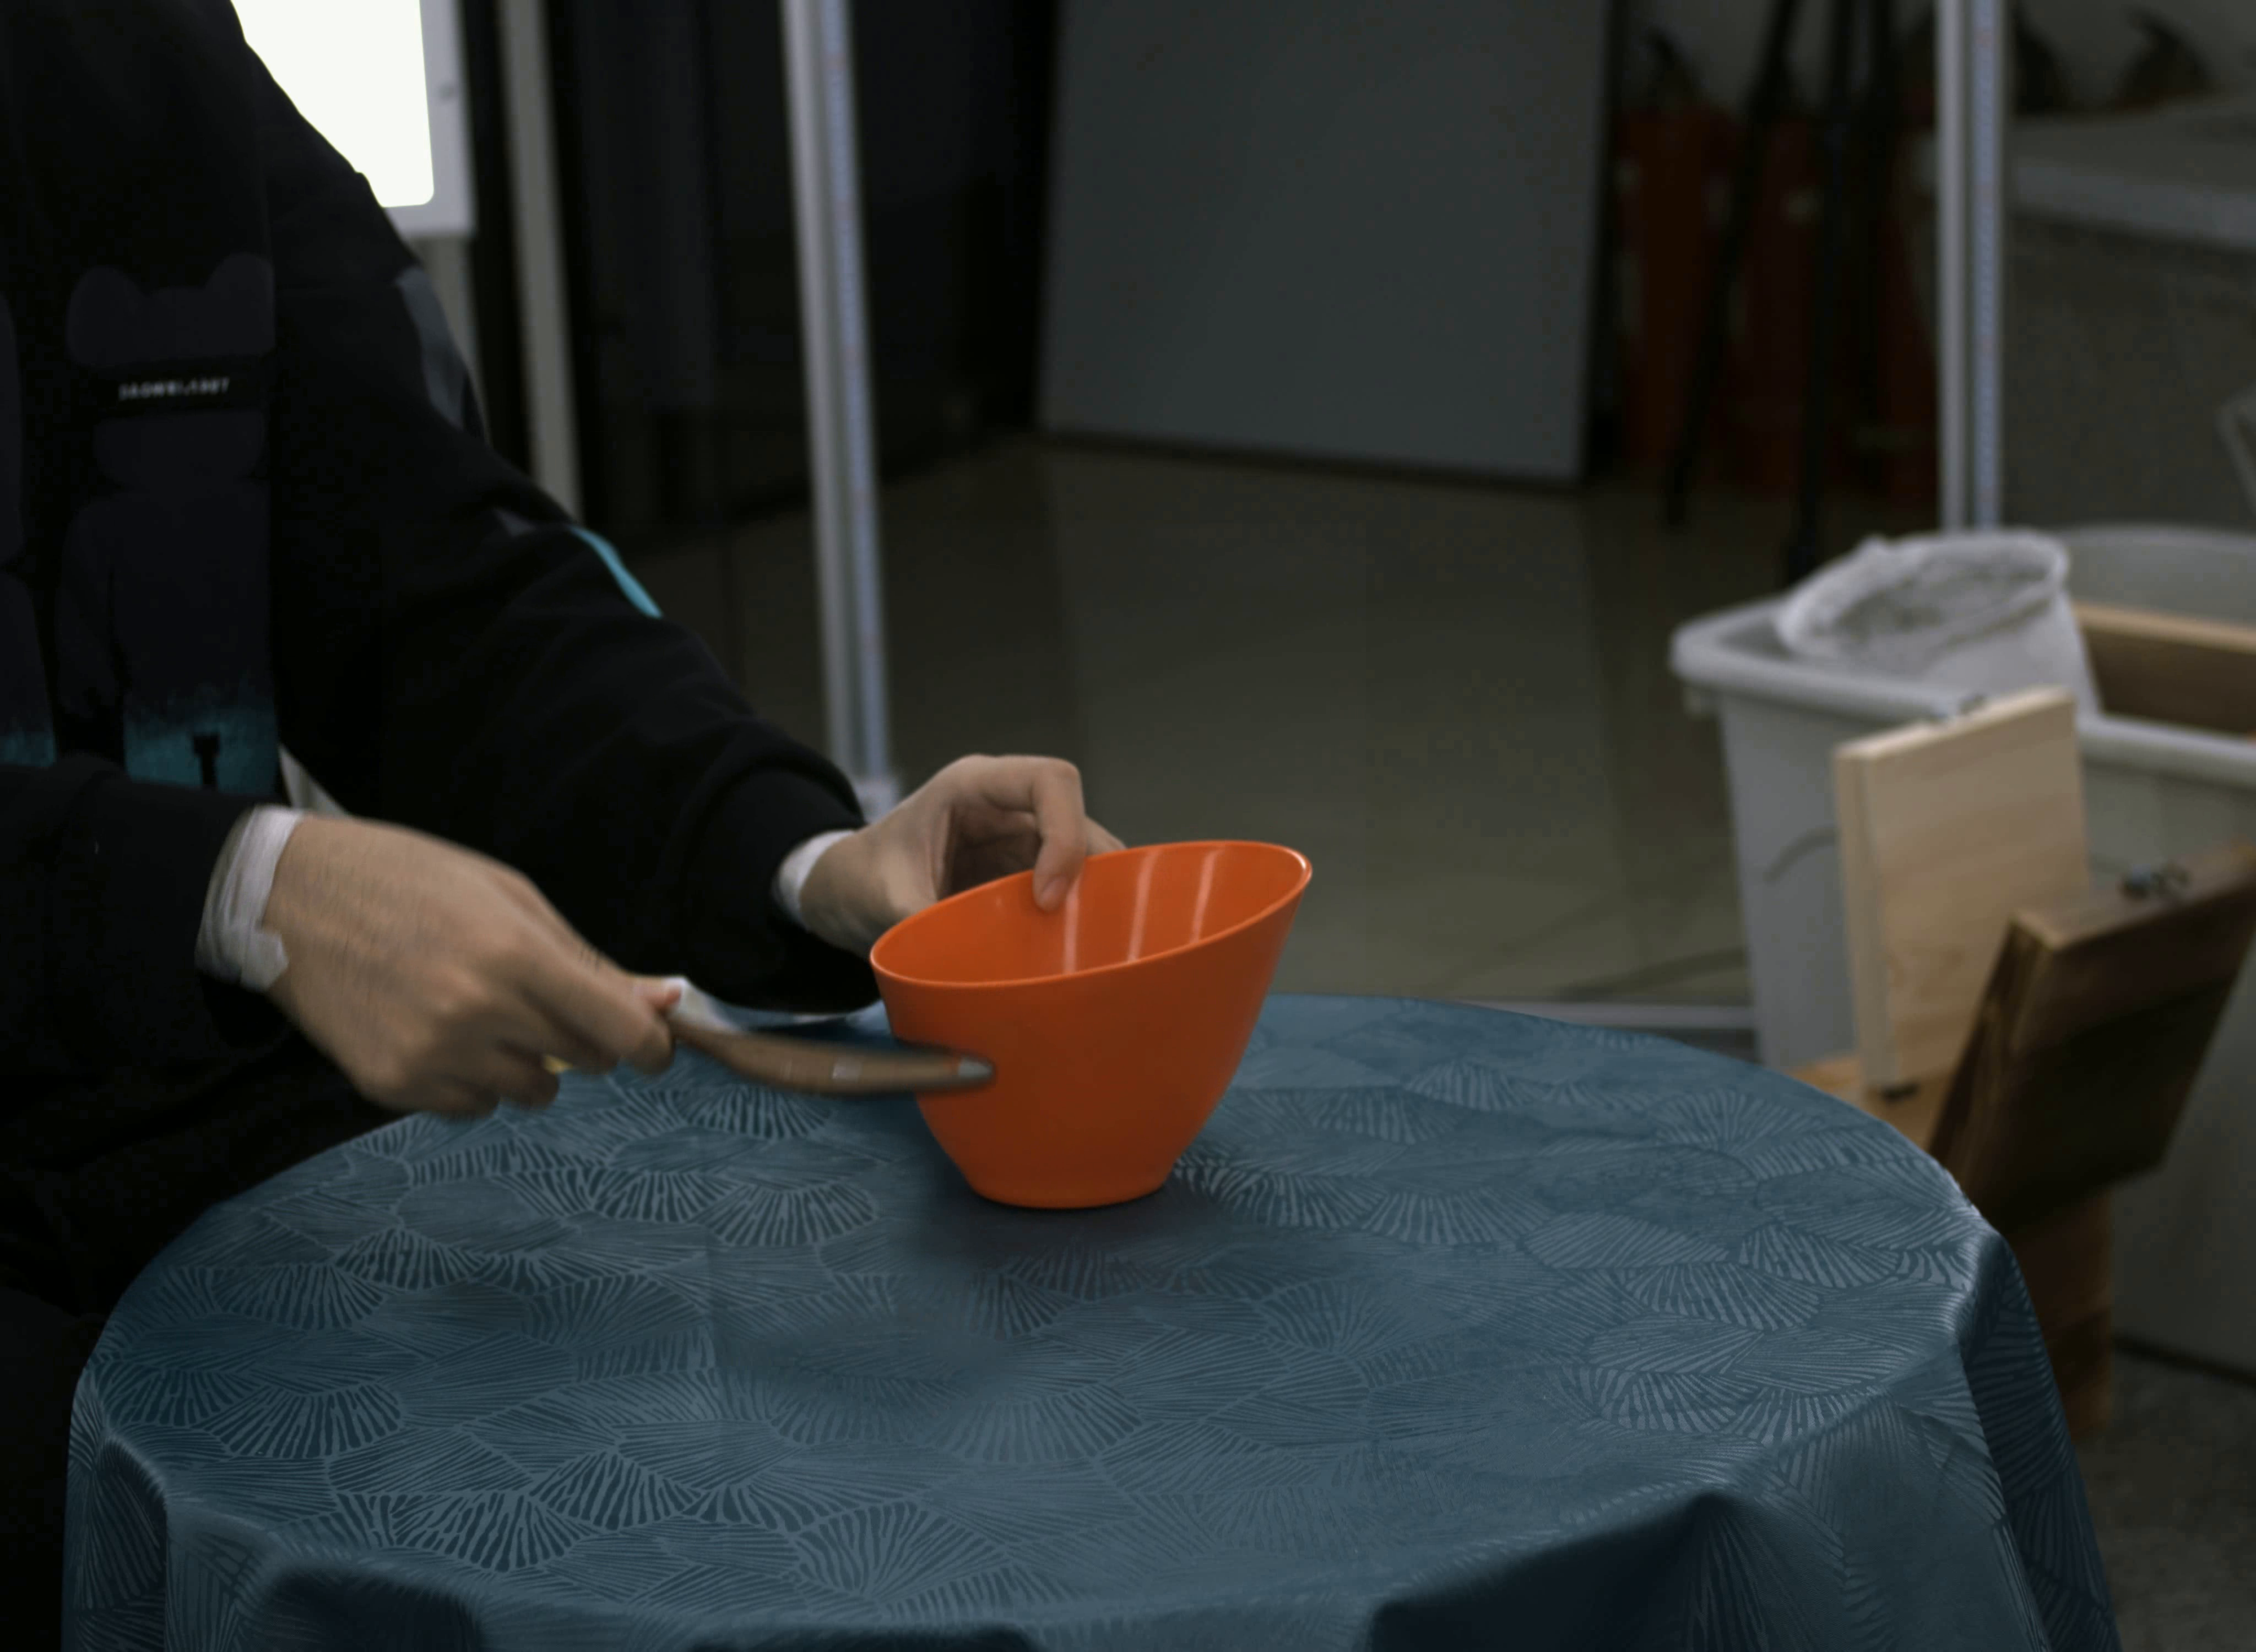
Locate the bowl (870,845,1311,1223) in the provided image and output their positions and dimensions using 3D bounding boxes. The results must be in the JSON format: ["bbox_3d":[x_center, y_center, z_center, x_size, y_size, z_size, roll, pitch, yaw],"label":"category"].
[{"bbox_3d":[-0.010,0.070,1.771,0.146,0.106,0.148,-4,13,0],"label":"bowl"}]

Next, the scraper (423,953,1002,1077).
[{"bbox_3d":[-0.137,0.059,1.691,0.212,0.011,0.074,11,6,36],"label":"scraper"}]
